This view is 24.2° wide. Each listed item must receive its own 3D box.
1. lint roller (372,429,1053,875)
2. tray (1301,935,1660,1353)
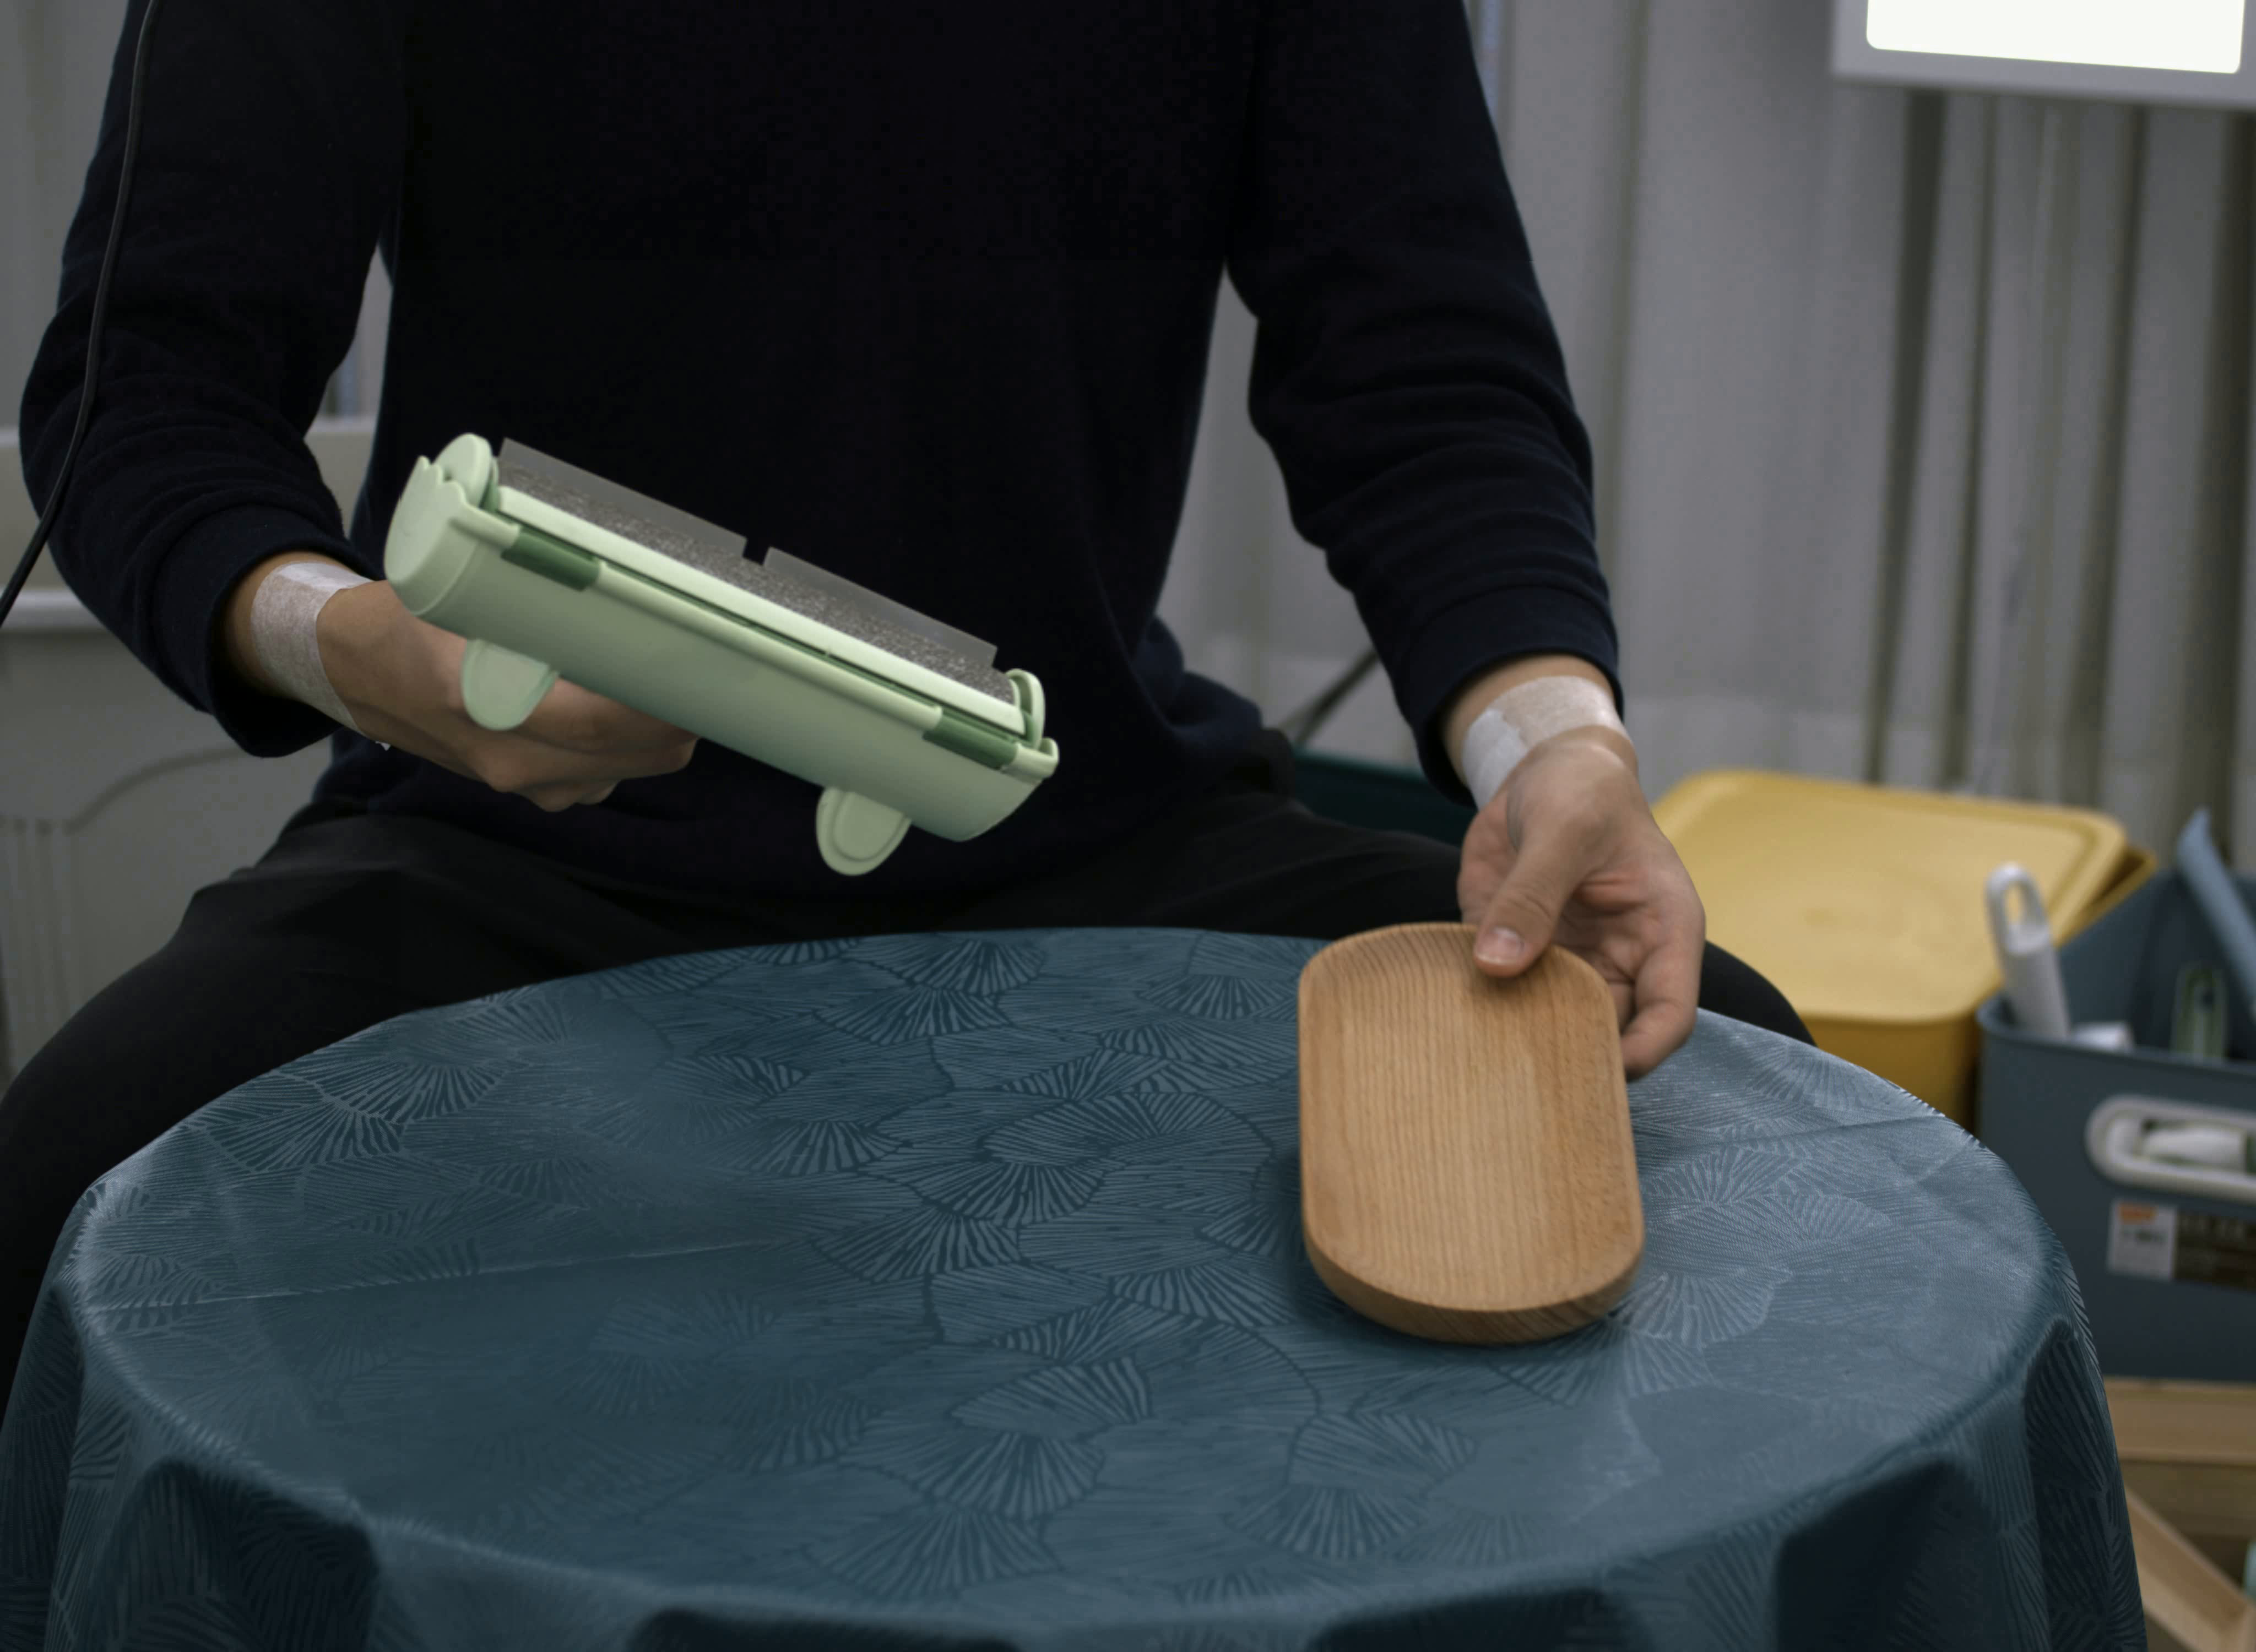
[{"bbox_3d":[-0.145,-0.034,1.529,0.200,0.082,0.182,23,-25,-25],"label":"lint roller"},{"bbox_3d":[0.104,0.093,1.589,0.101,0.020,0.229,1,28,-1],"label":"tray"}]
